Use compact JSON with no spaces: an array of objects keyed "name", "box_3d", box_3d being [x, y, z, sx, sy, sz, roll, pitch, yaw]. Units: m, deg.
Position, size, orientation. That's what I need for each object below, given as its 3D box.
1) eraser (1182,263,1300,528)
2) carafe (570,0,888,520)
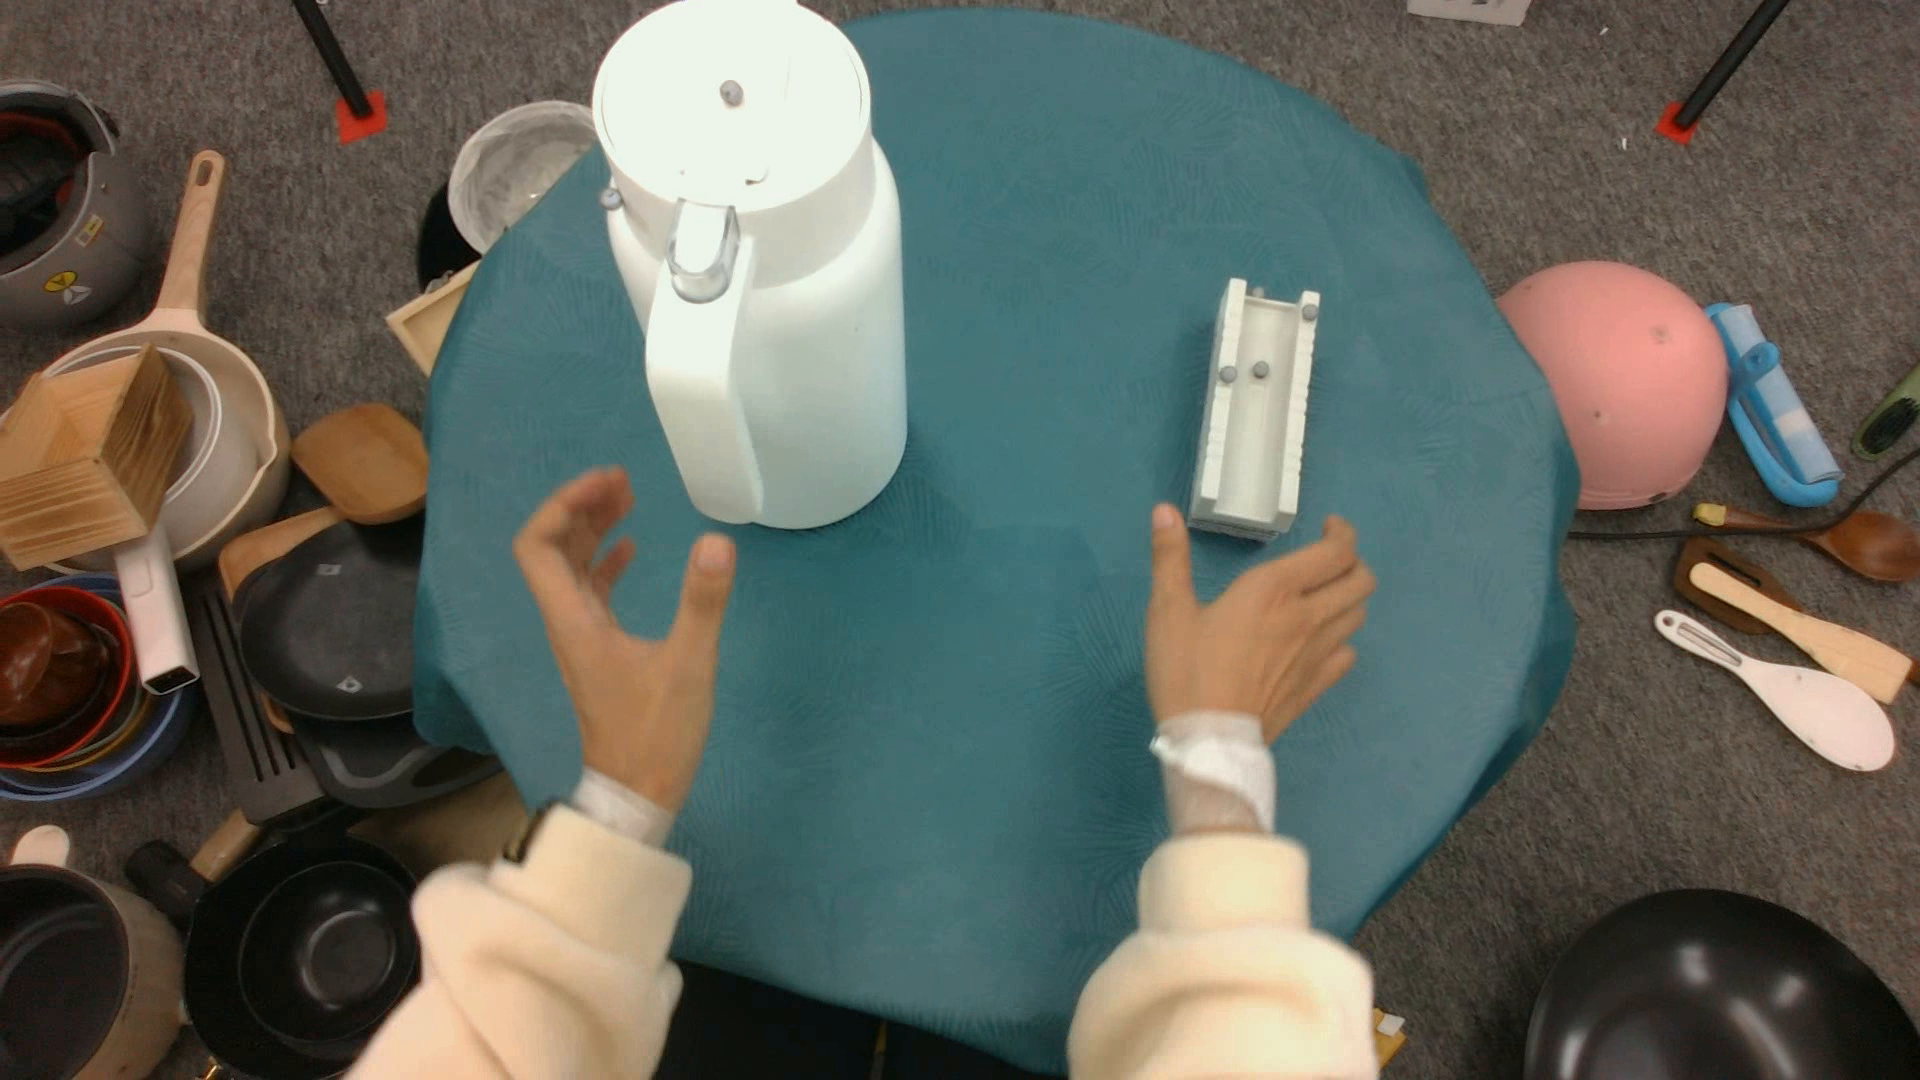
[{"name":"eraser","box_3d":[0.148,-0.076,0.729,0.050,0.046,0.135,10,67,-2]},{"name":"carafe","box_3d":[-0.093,-0.096,0.606,0.124,0.268,0.173,9,67,-1]}]
